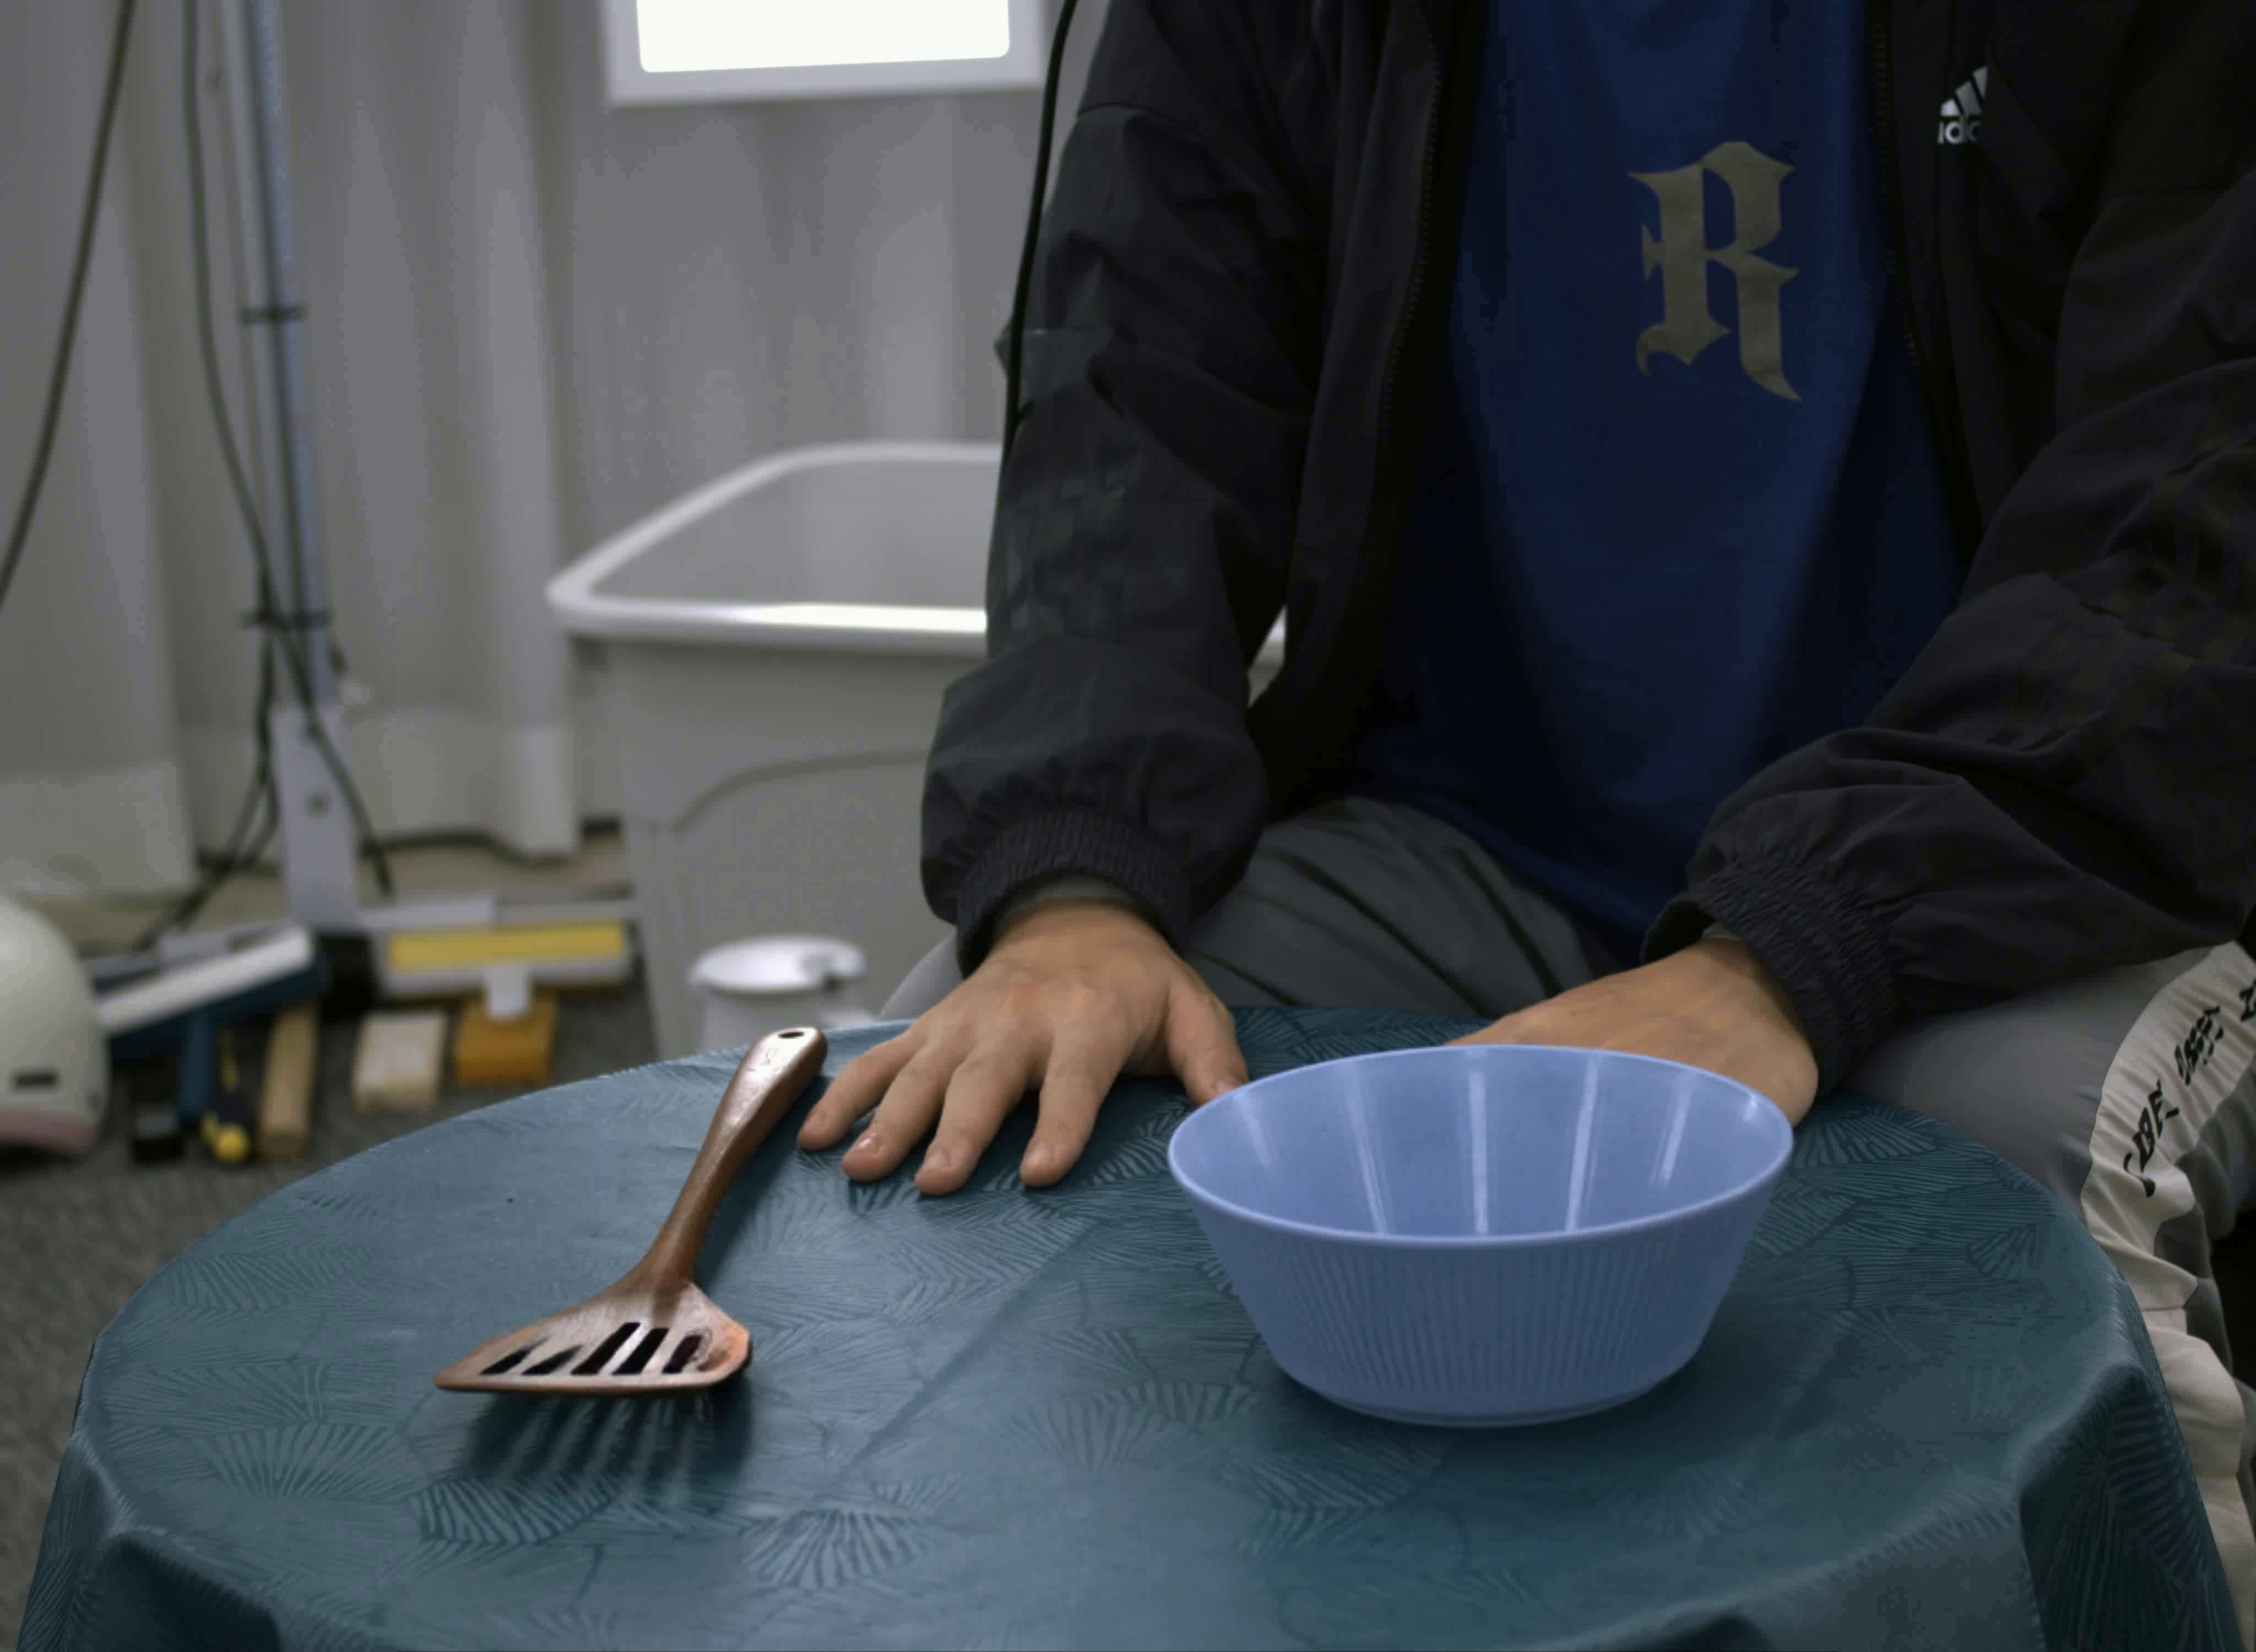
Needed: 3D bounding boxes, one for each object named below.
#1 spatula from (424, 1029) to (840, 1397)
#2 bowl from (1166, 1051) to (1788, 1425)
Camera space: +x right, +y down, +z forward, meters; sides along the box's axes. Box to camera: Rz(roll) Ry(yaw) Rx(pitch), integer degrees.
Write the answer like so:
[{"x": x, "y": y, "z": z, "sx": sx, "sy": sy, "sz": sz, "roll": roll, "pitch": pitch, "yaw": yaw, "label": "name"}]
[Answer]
[{"x": -0.132, "y": 0.119, "z": 1.680, "sx": 0.085, "sy": 0.024, "sz": 0.388, "roll": 0, "pitch": 14, "yaw": 7, "label": "spatula"}, {"x": 0.099, "y": 0.118, "z": 1.541, "sx": 0.175, "sy": 0.070, "sz": 0.177, "roll": -2, "pitch": 14, "yaw": 0, "label": "bowl"}]
